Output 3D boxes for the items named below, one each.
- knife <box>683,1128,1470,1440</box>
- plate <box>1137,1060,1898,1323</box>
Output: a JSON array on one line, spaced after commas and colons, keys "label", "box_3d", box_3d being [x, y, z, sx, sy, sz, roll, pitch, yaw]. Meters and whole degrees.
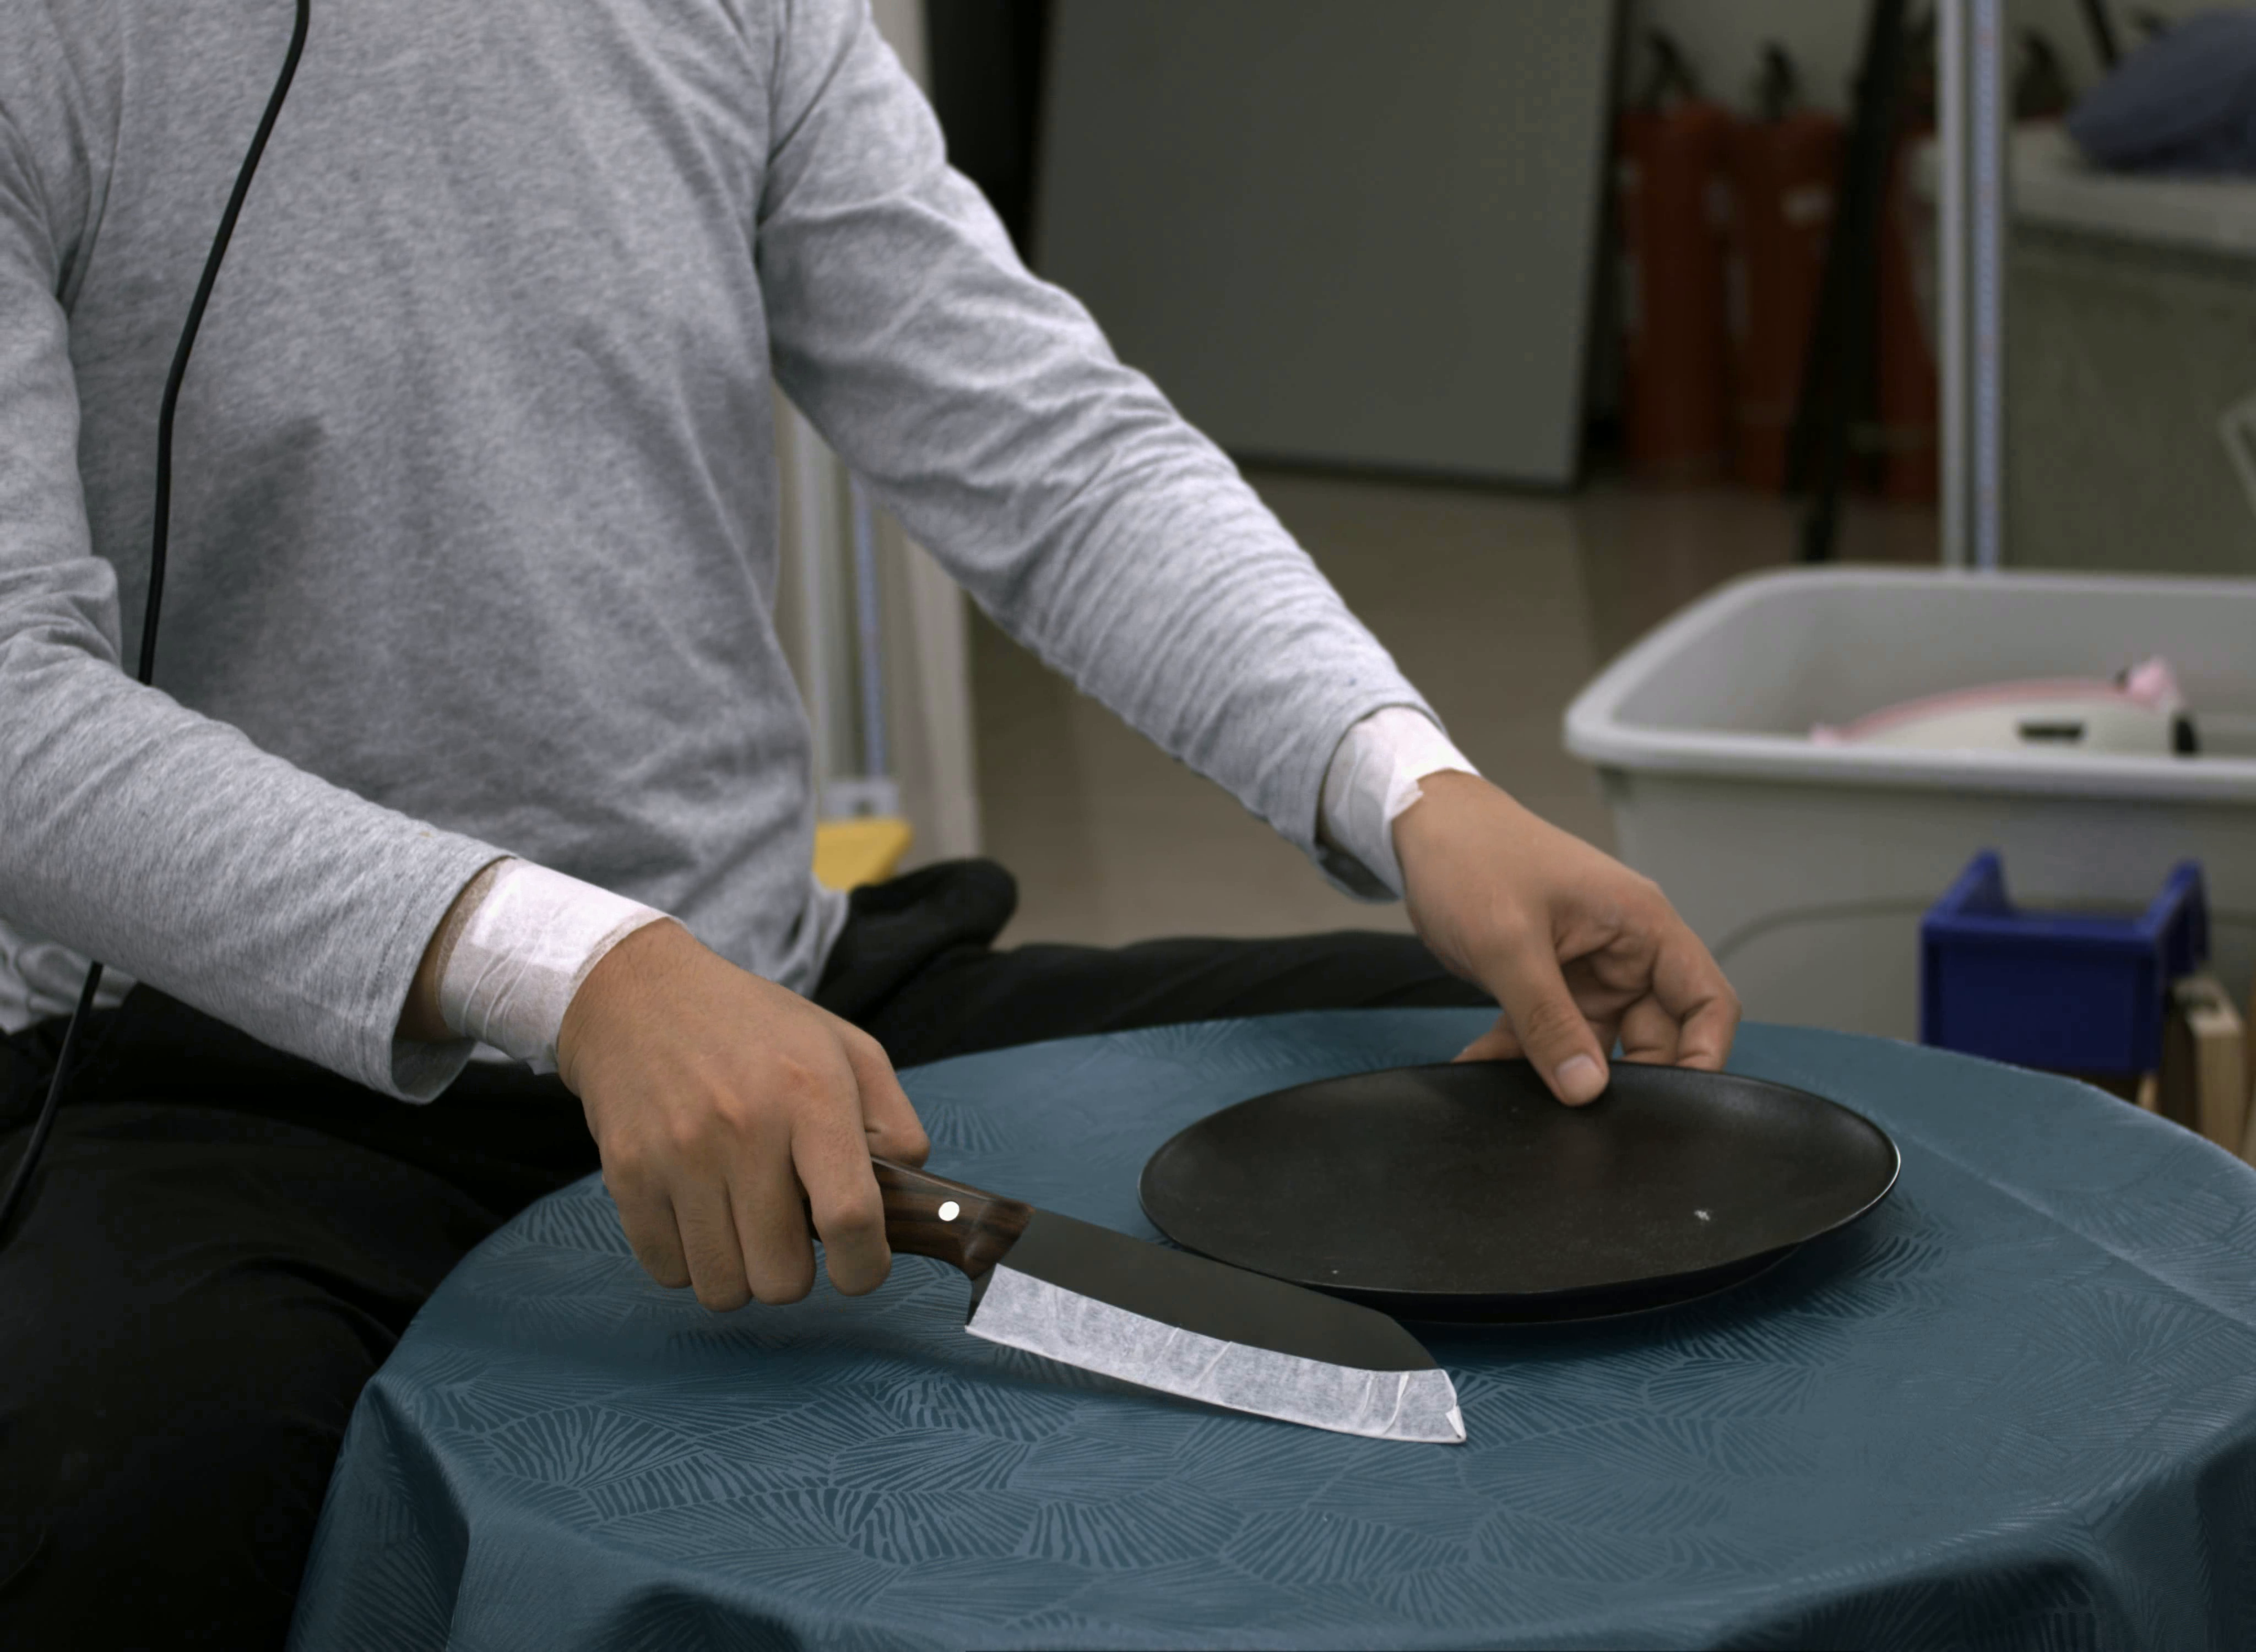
[{"label": "knife", "box_3d": [-0.020, 0.135, 1.603, 0.291, 0.050, 0.020, 16, -21, 33]}, {"label": "plate", "box_3d": [0.123, 0.118, 1.704, 0.241, 0.024, 0.245, -4, 13, 0]}]
